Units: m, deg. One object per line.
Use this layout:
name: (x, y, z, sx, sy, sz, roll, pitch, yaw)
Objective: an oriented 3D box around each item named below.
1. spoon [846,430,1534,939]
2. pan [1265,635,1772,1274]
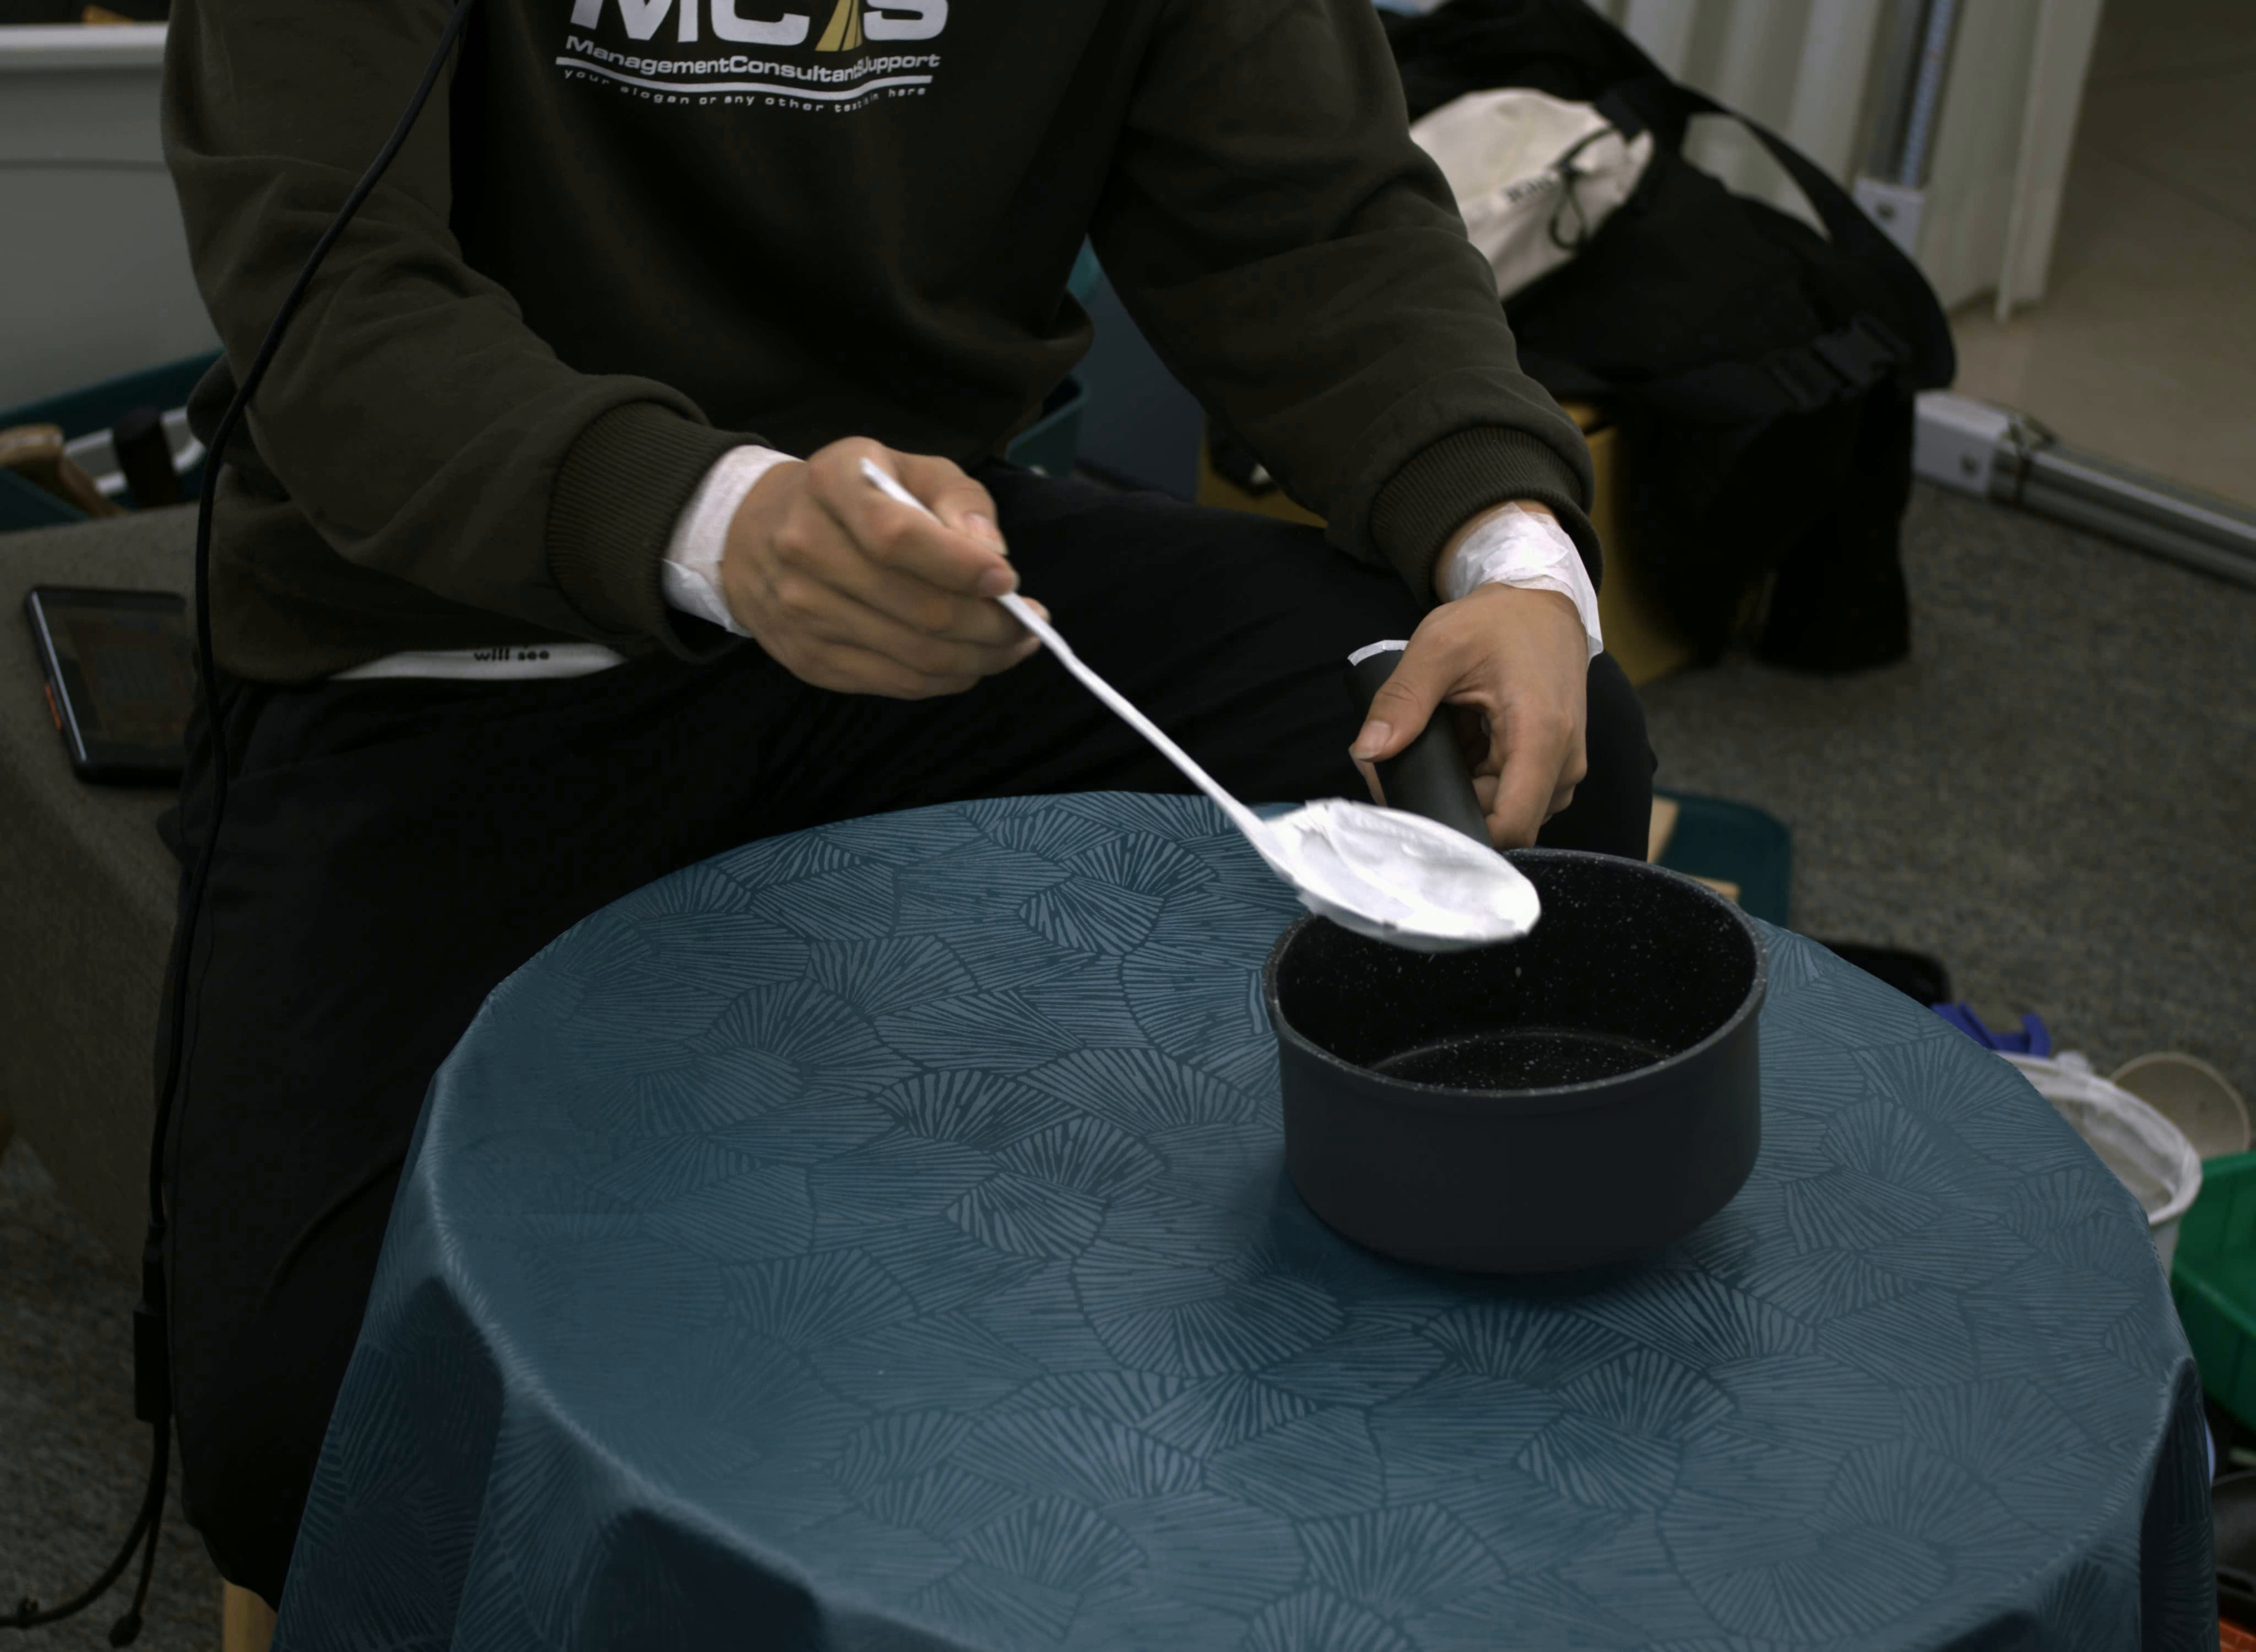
spoon: (0.022, -0.053, 1.737, 0.275, 0.059, 0.101, 44, 12, -21)
pan: (0.127, 0.041, 1.880, 0.171, 0.086, 0.331, -6, 28, -2)
